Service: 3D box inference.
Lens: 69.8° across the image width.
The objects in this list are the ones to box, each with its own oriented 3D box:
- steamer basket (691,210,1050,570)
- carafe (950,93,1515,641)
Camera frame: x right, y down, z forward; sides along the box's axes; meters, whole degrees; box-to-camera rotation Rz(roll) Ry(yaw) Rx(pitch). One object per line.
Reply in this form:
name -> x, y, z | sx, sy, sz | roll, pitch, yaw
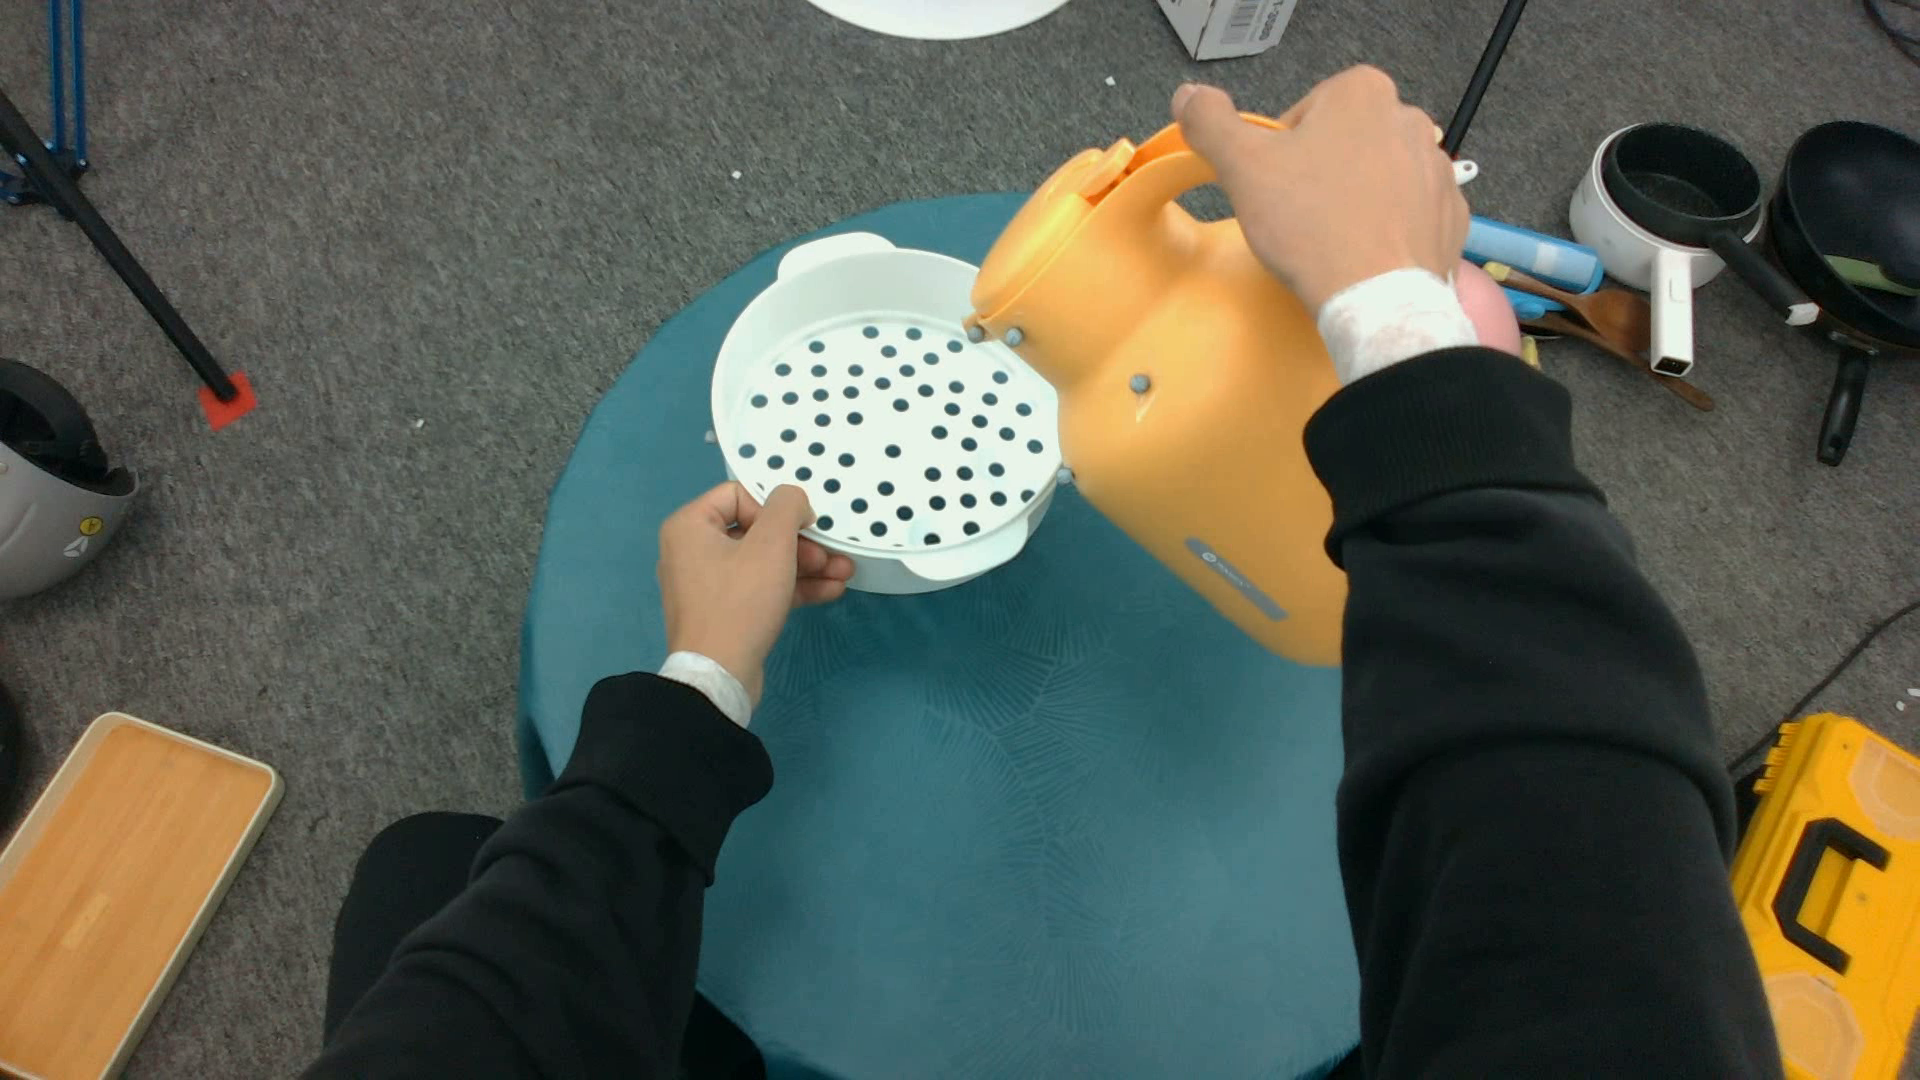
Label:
steamer basket -> -0.048, -0.079, 0.776 | 0.202, 0.069, 0.231 | -18, 66, -16
carafe -> 0.128, -0.083, 0.630 | 0.260, 0.201, 0.164 | 35, 60, -14
